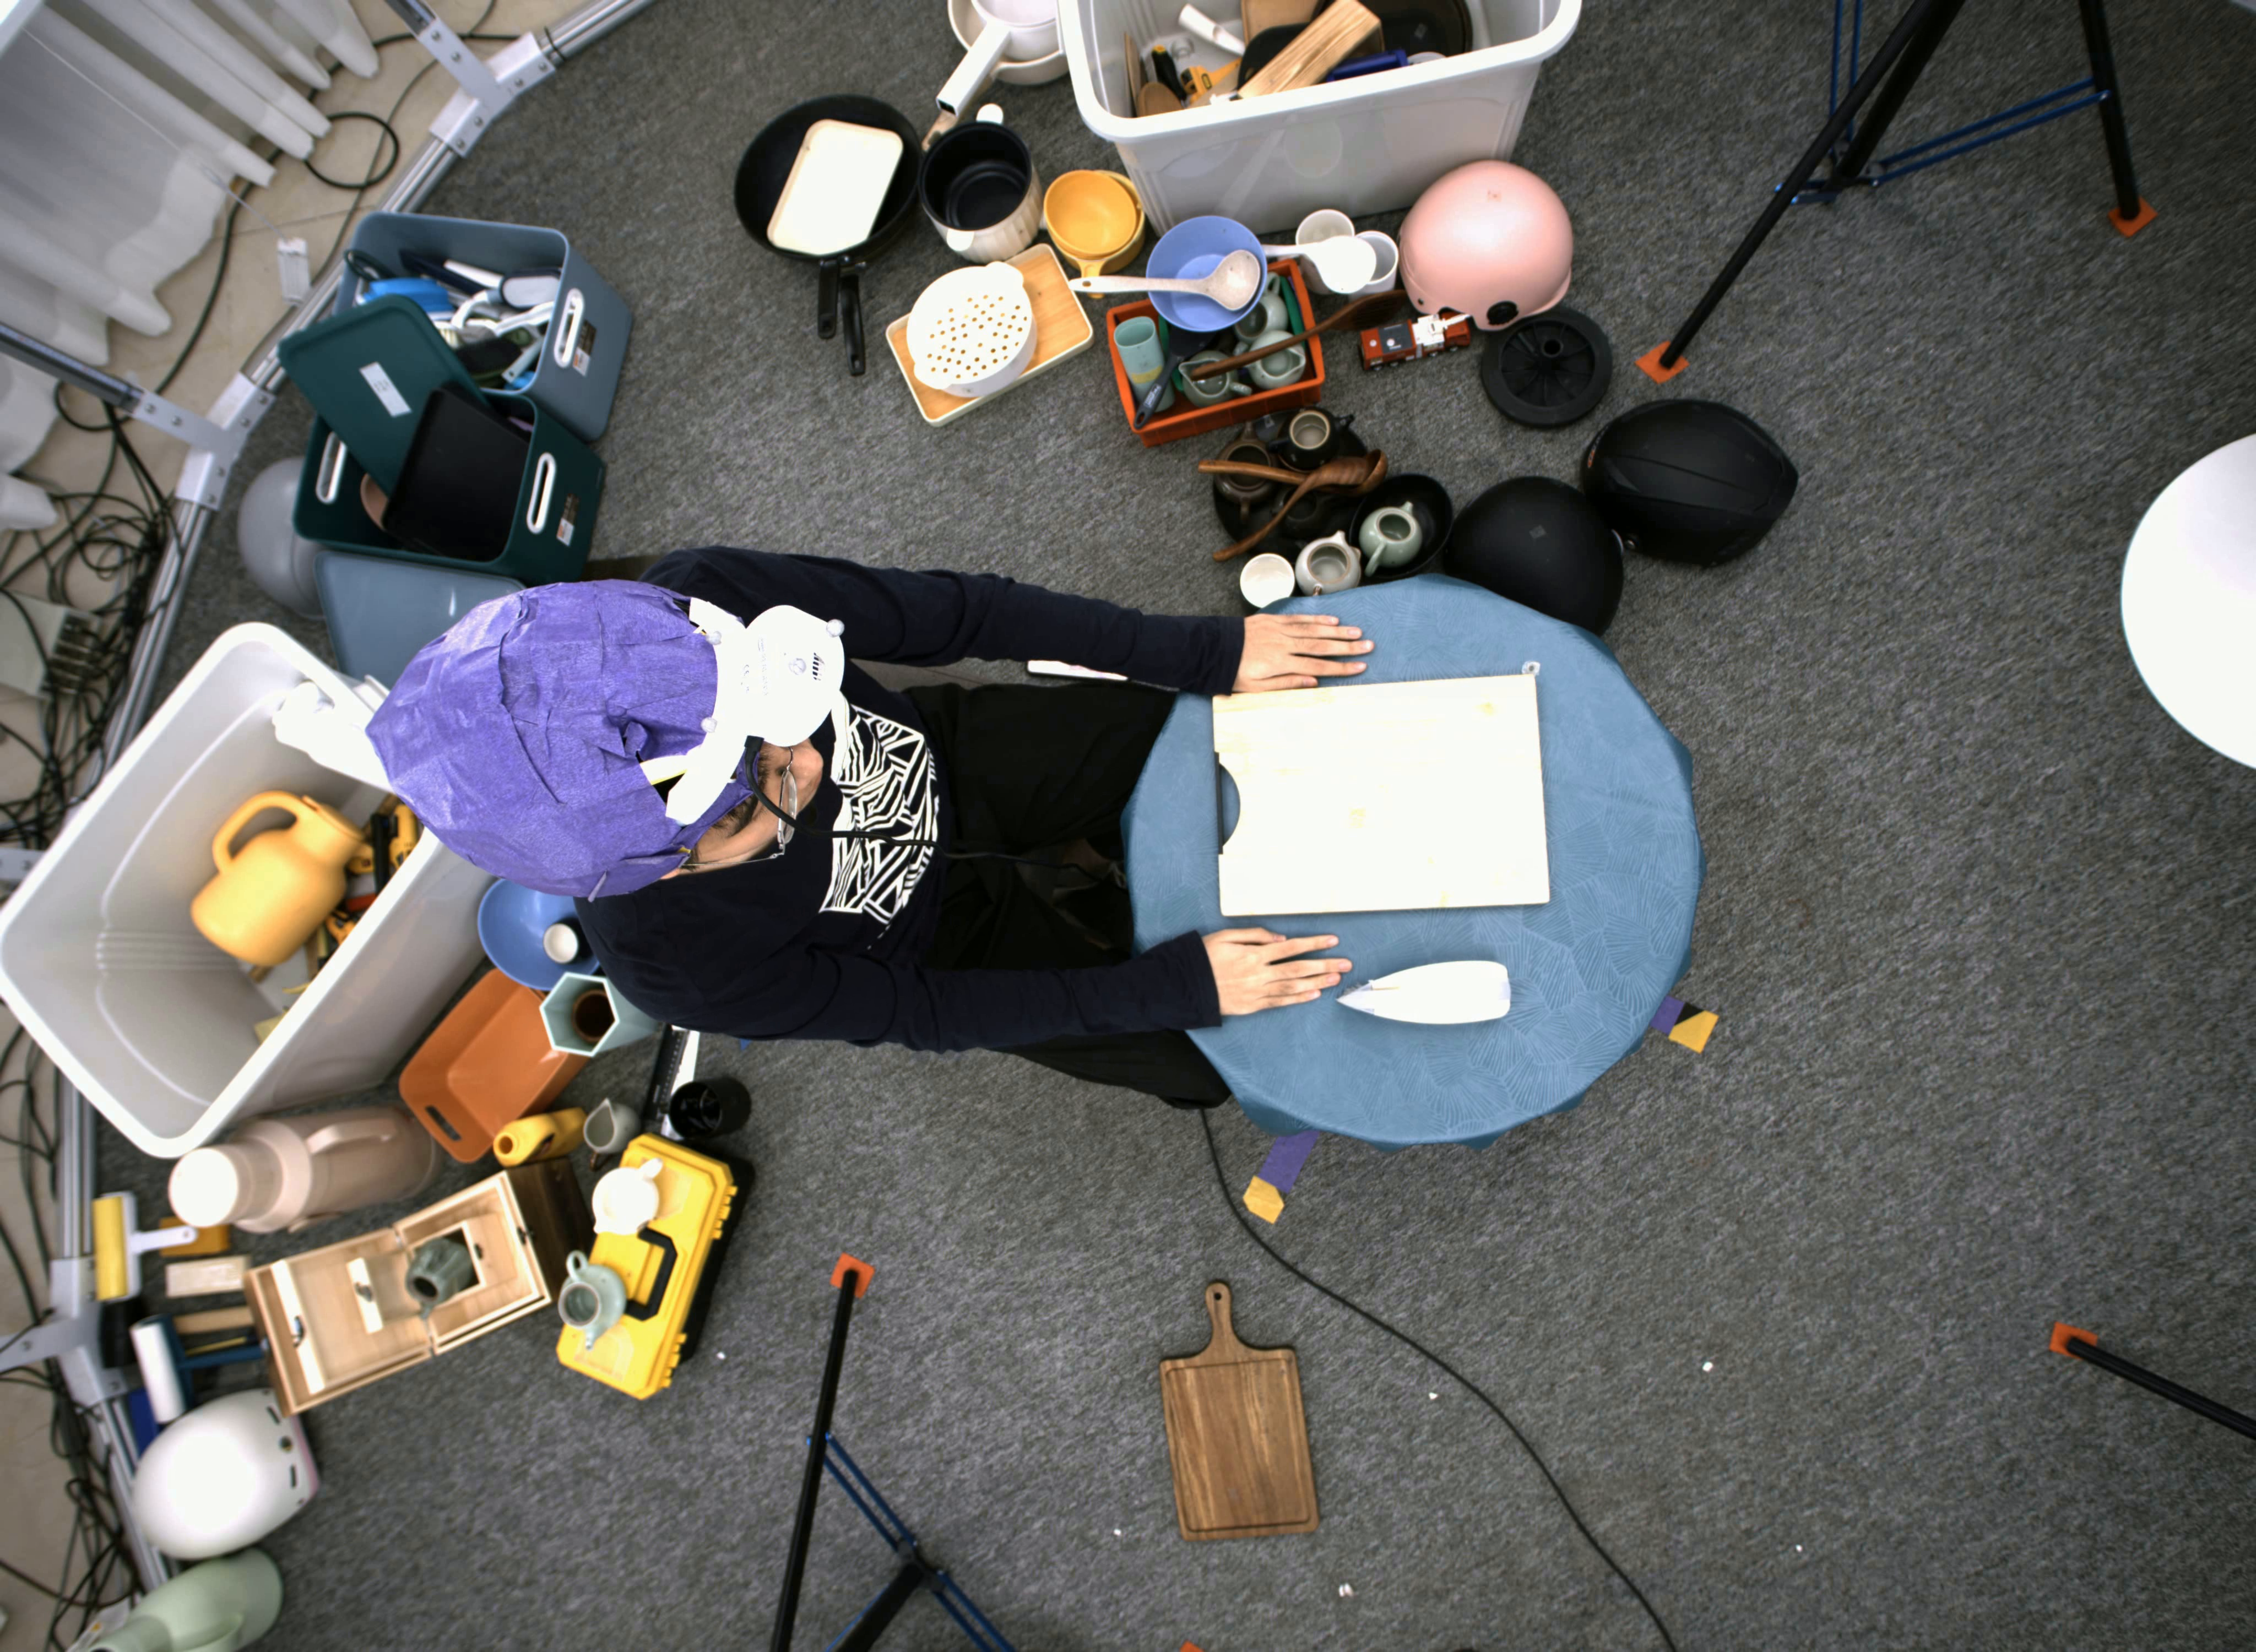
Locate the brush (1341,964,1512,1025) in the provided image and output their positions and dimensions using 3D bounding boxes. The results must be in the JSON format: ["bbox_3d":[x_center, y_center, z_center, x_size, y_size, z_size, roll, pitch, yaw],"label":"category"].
[{"bbox_3d":[0.302,0.172,1.402,0.176,0.094,0.061,-5,85,12],"label":"brush"}]

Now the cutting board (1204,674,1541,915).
[{"bbox_3d":[0.258,-0.033,1.458,0.350,0.023,0.249,-4,86,11],"label":"cutting board"}]
